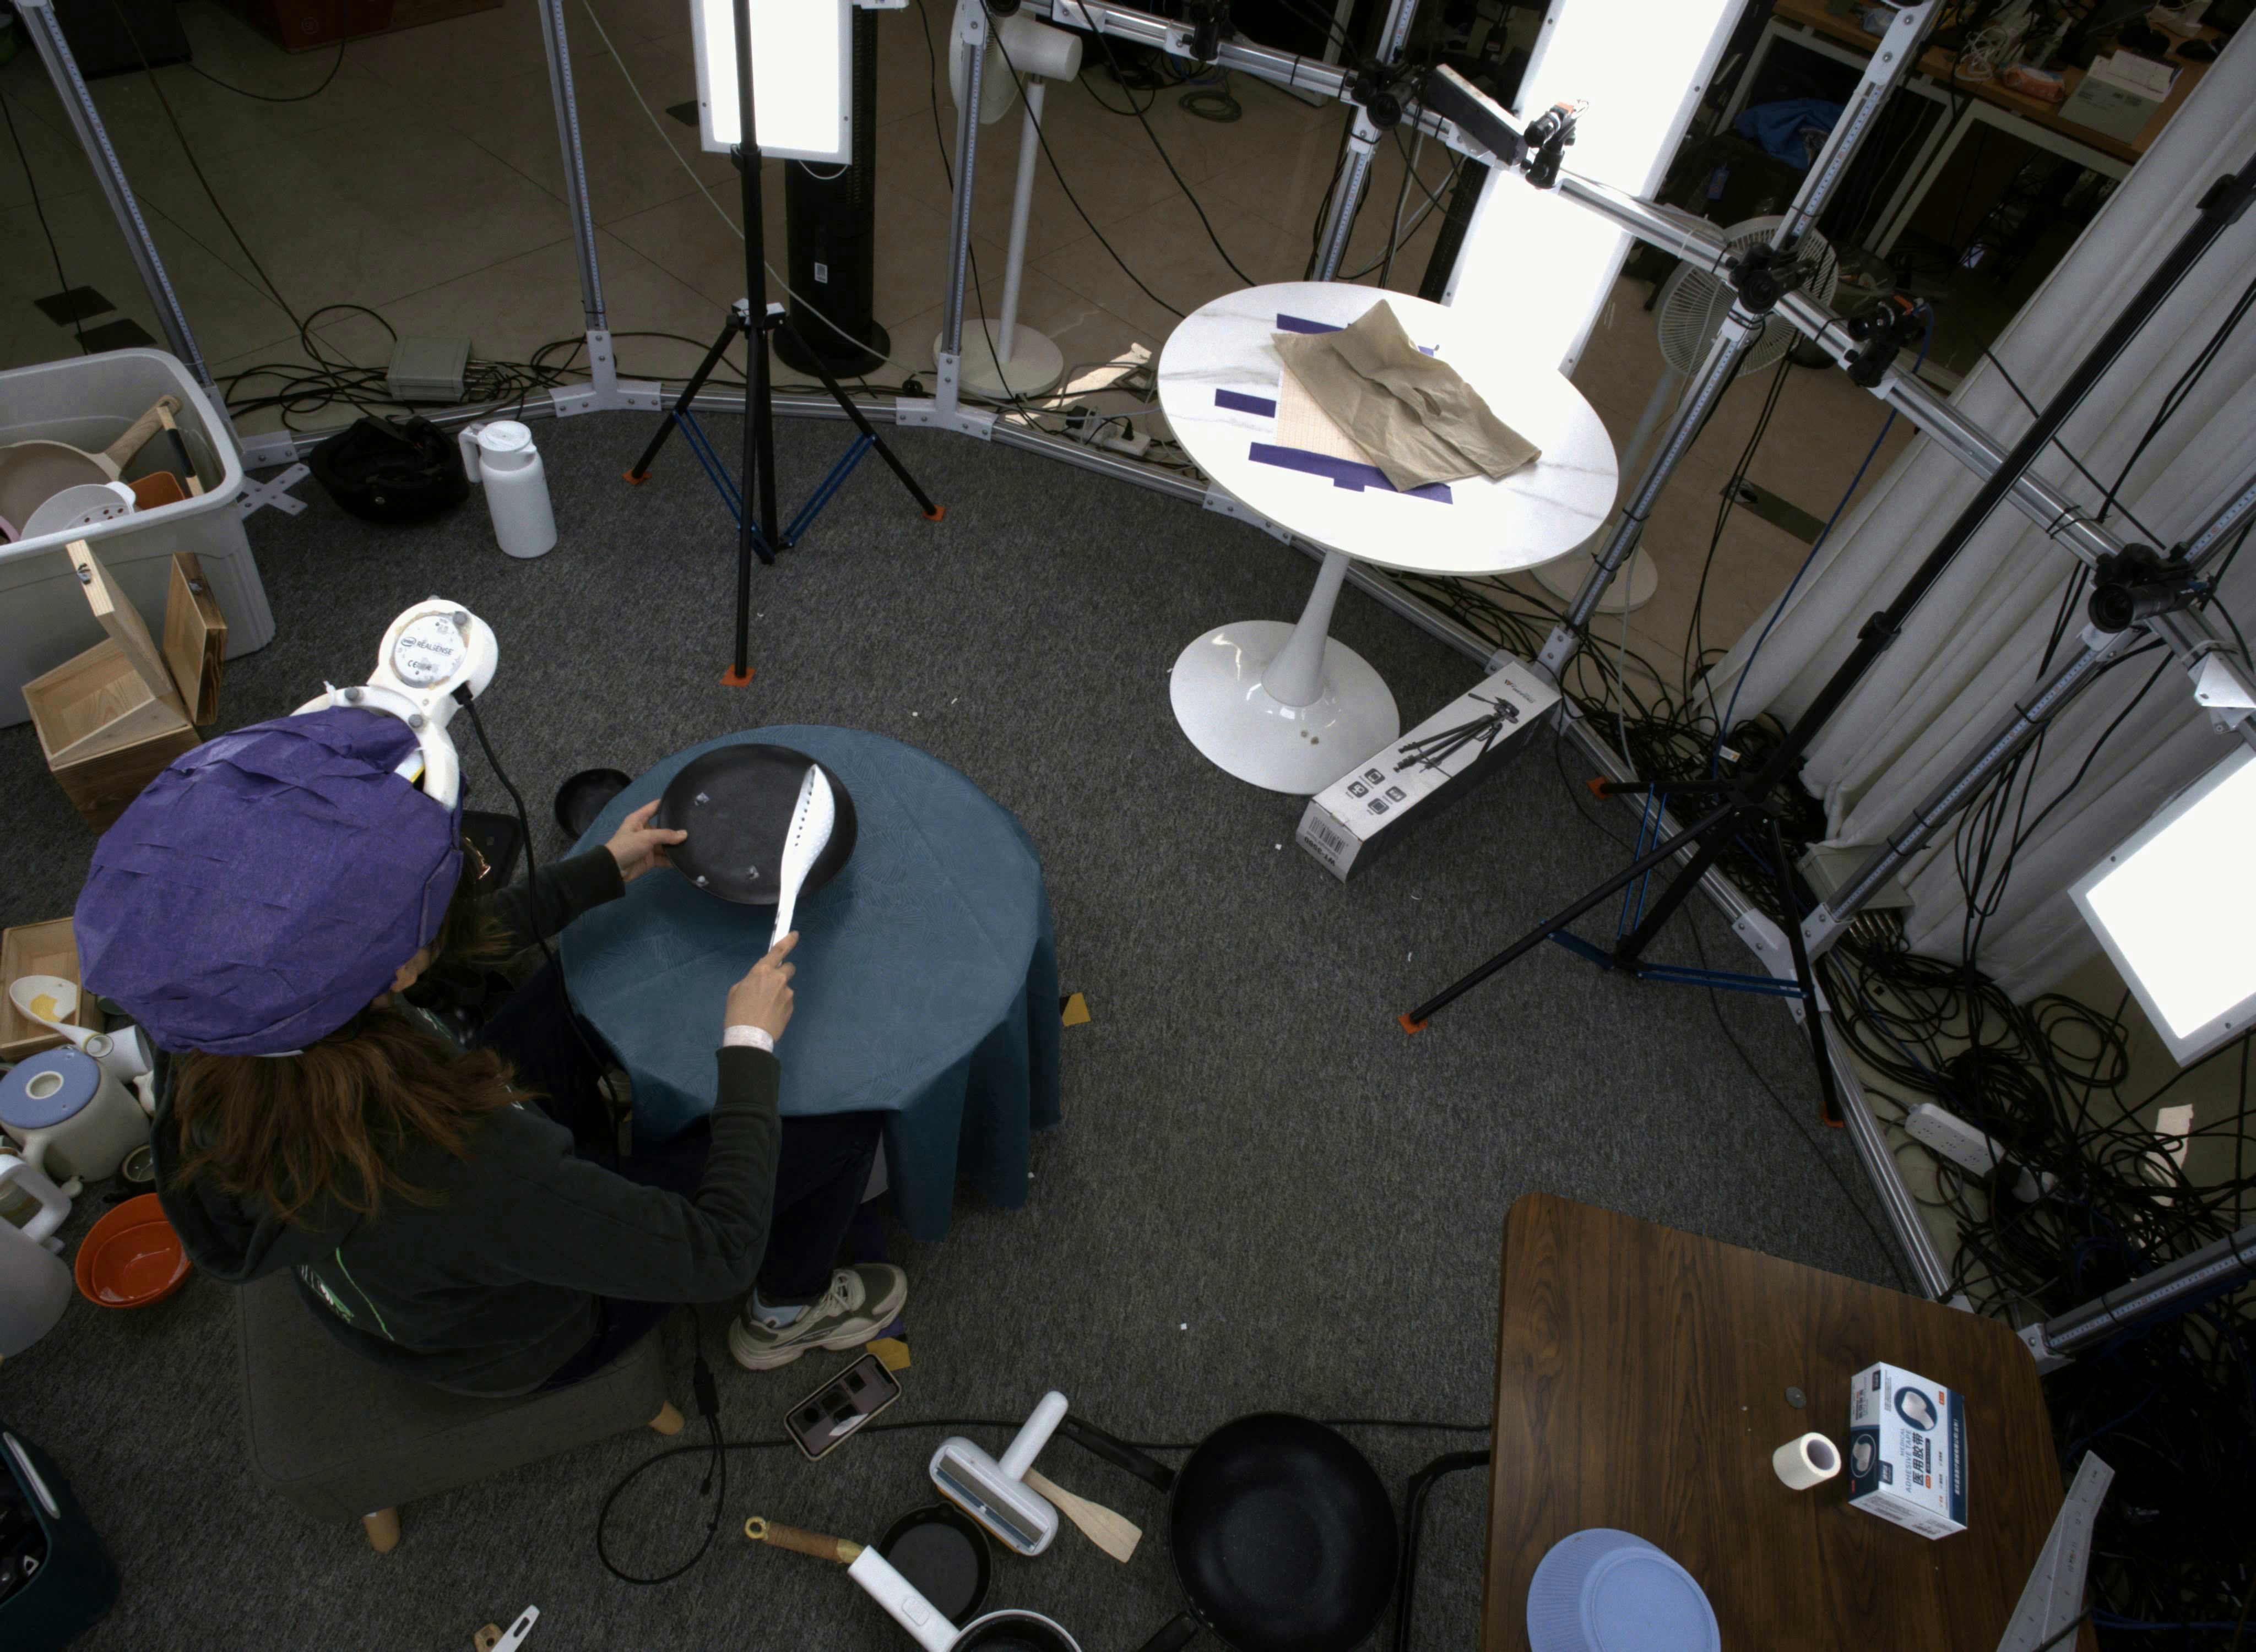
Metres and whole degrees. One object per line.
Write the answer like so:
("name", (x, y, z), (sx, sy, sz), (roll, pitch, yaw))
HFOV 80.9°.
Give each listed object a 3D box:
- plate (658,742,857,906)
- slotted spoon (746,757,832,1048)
("plate", (-0.463, -0.002, 1.619), (0.245, 0.024, 0.240), (11, 55, -14))
("slotted spoon", (-0.387, 0.081, 1.462), (0.046, 0.136, 0.346), (19, 58, -16))
